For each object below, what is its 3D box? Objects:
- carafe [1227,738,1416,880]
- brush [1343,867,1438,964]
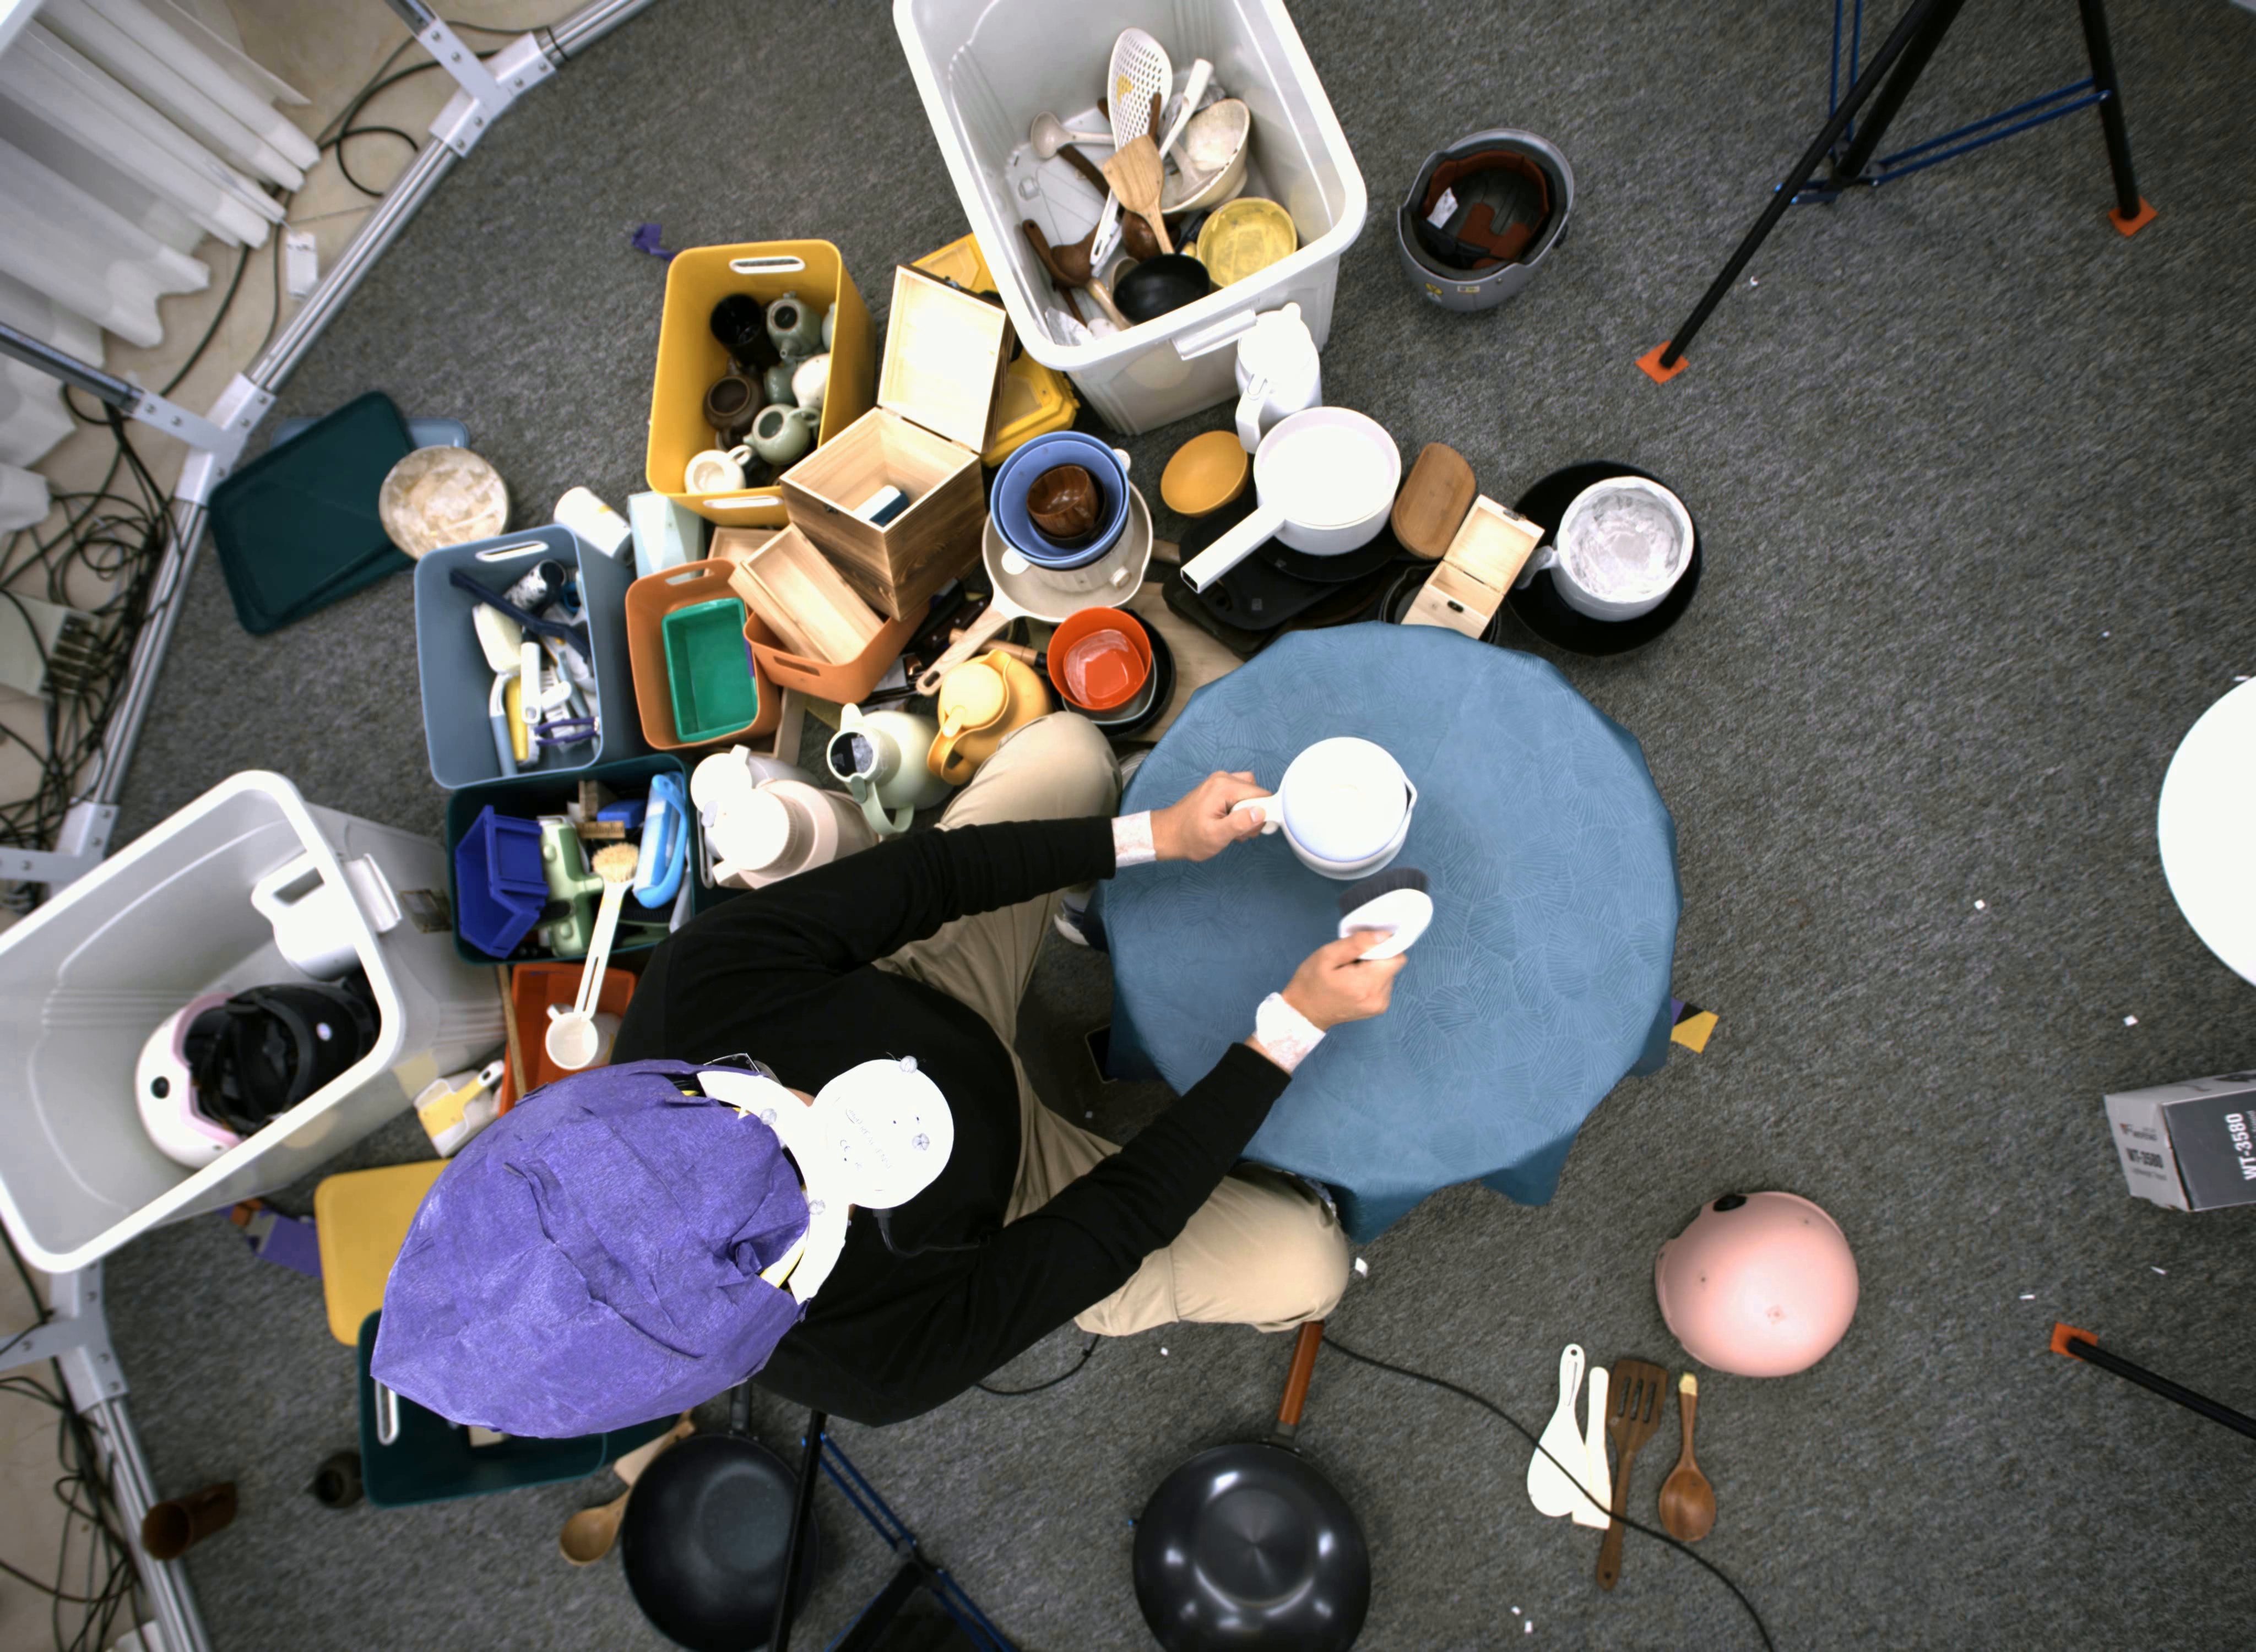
[{"bbox_3d":[0.193,-0.014,1.392,0.192,0.183,0.131,-6,84,11],"label":"carafe"},{"bbox_3d":[0.247,0.090,1.303,0.101,0.050,0.070,-29,45,39],"label":"brush"}]
